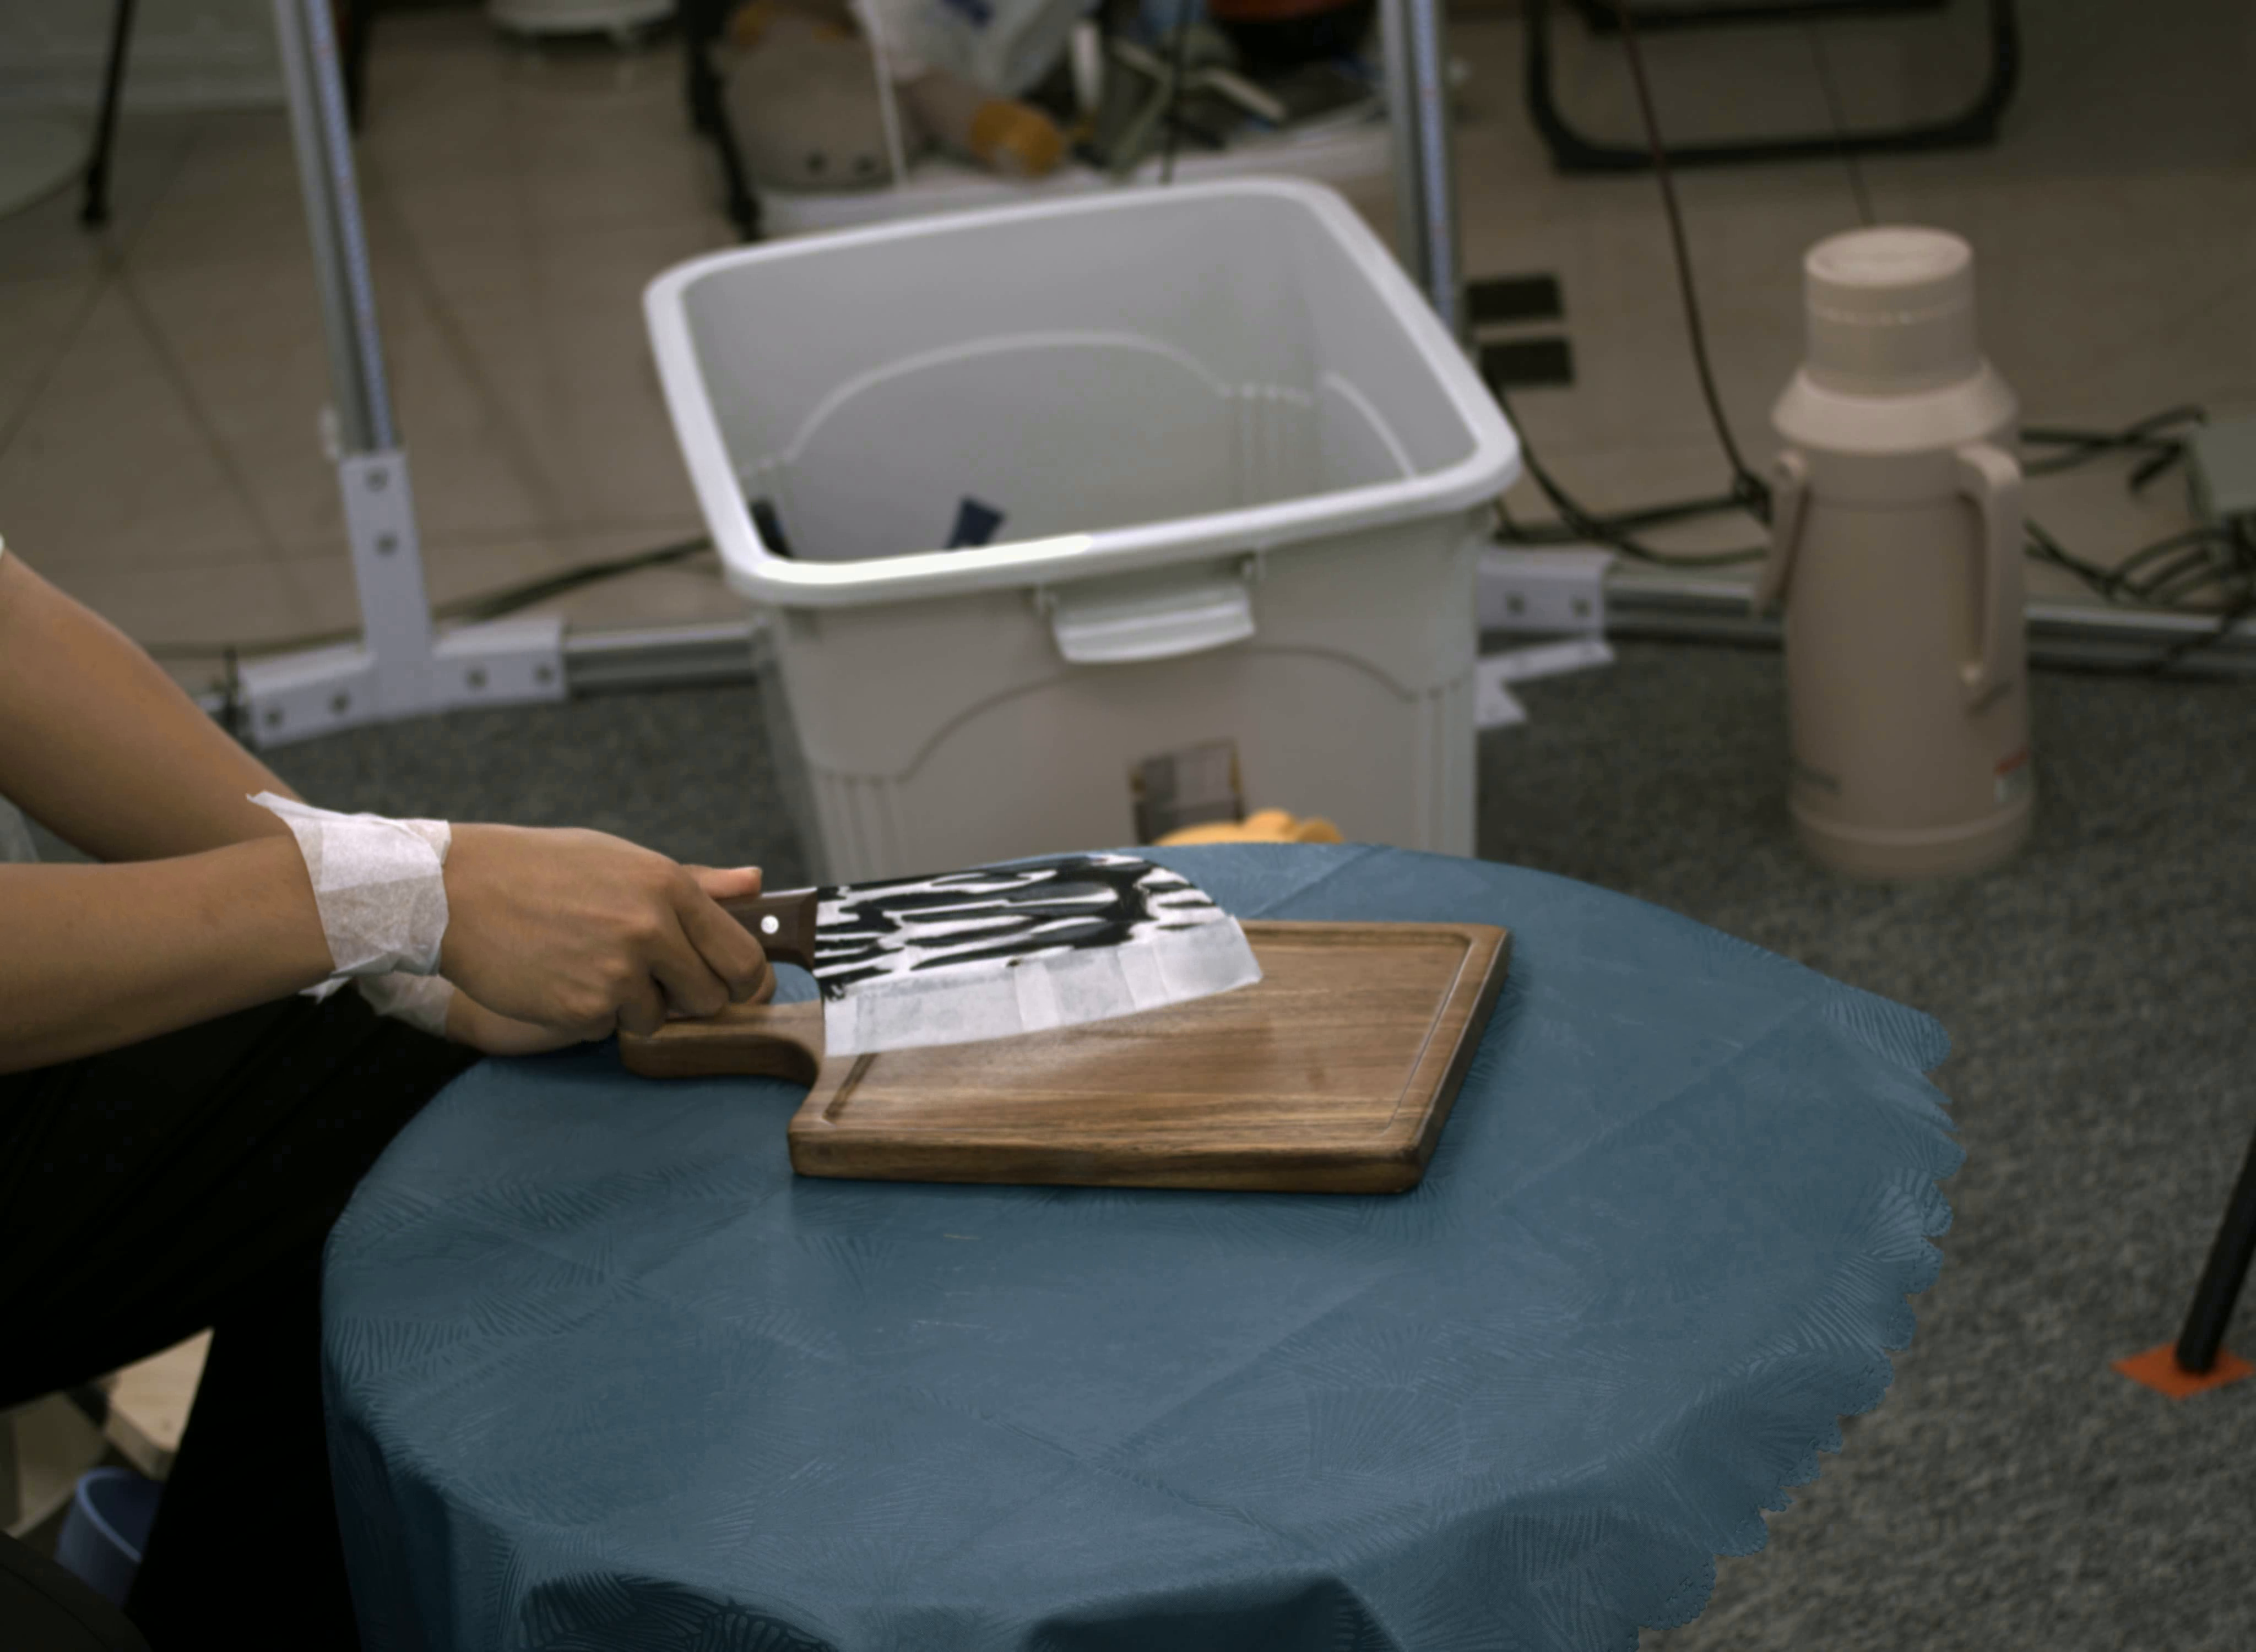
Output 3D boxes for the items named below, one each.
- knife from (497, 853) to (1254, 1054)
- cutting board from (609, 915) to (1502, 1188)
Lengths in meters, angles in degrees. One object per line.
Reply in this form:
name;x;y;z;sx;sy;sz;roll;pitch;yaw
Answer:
knife;-0.096;0.053;2.213;0.299;0.068;0.024;-6;1;-15
cutting board;-0.039;0.085;2.251;0.351;0.023;0.198;1;26;16
